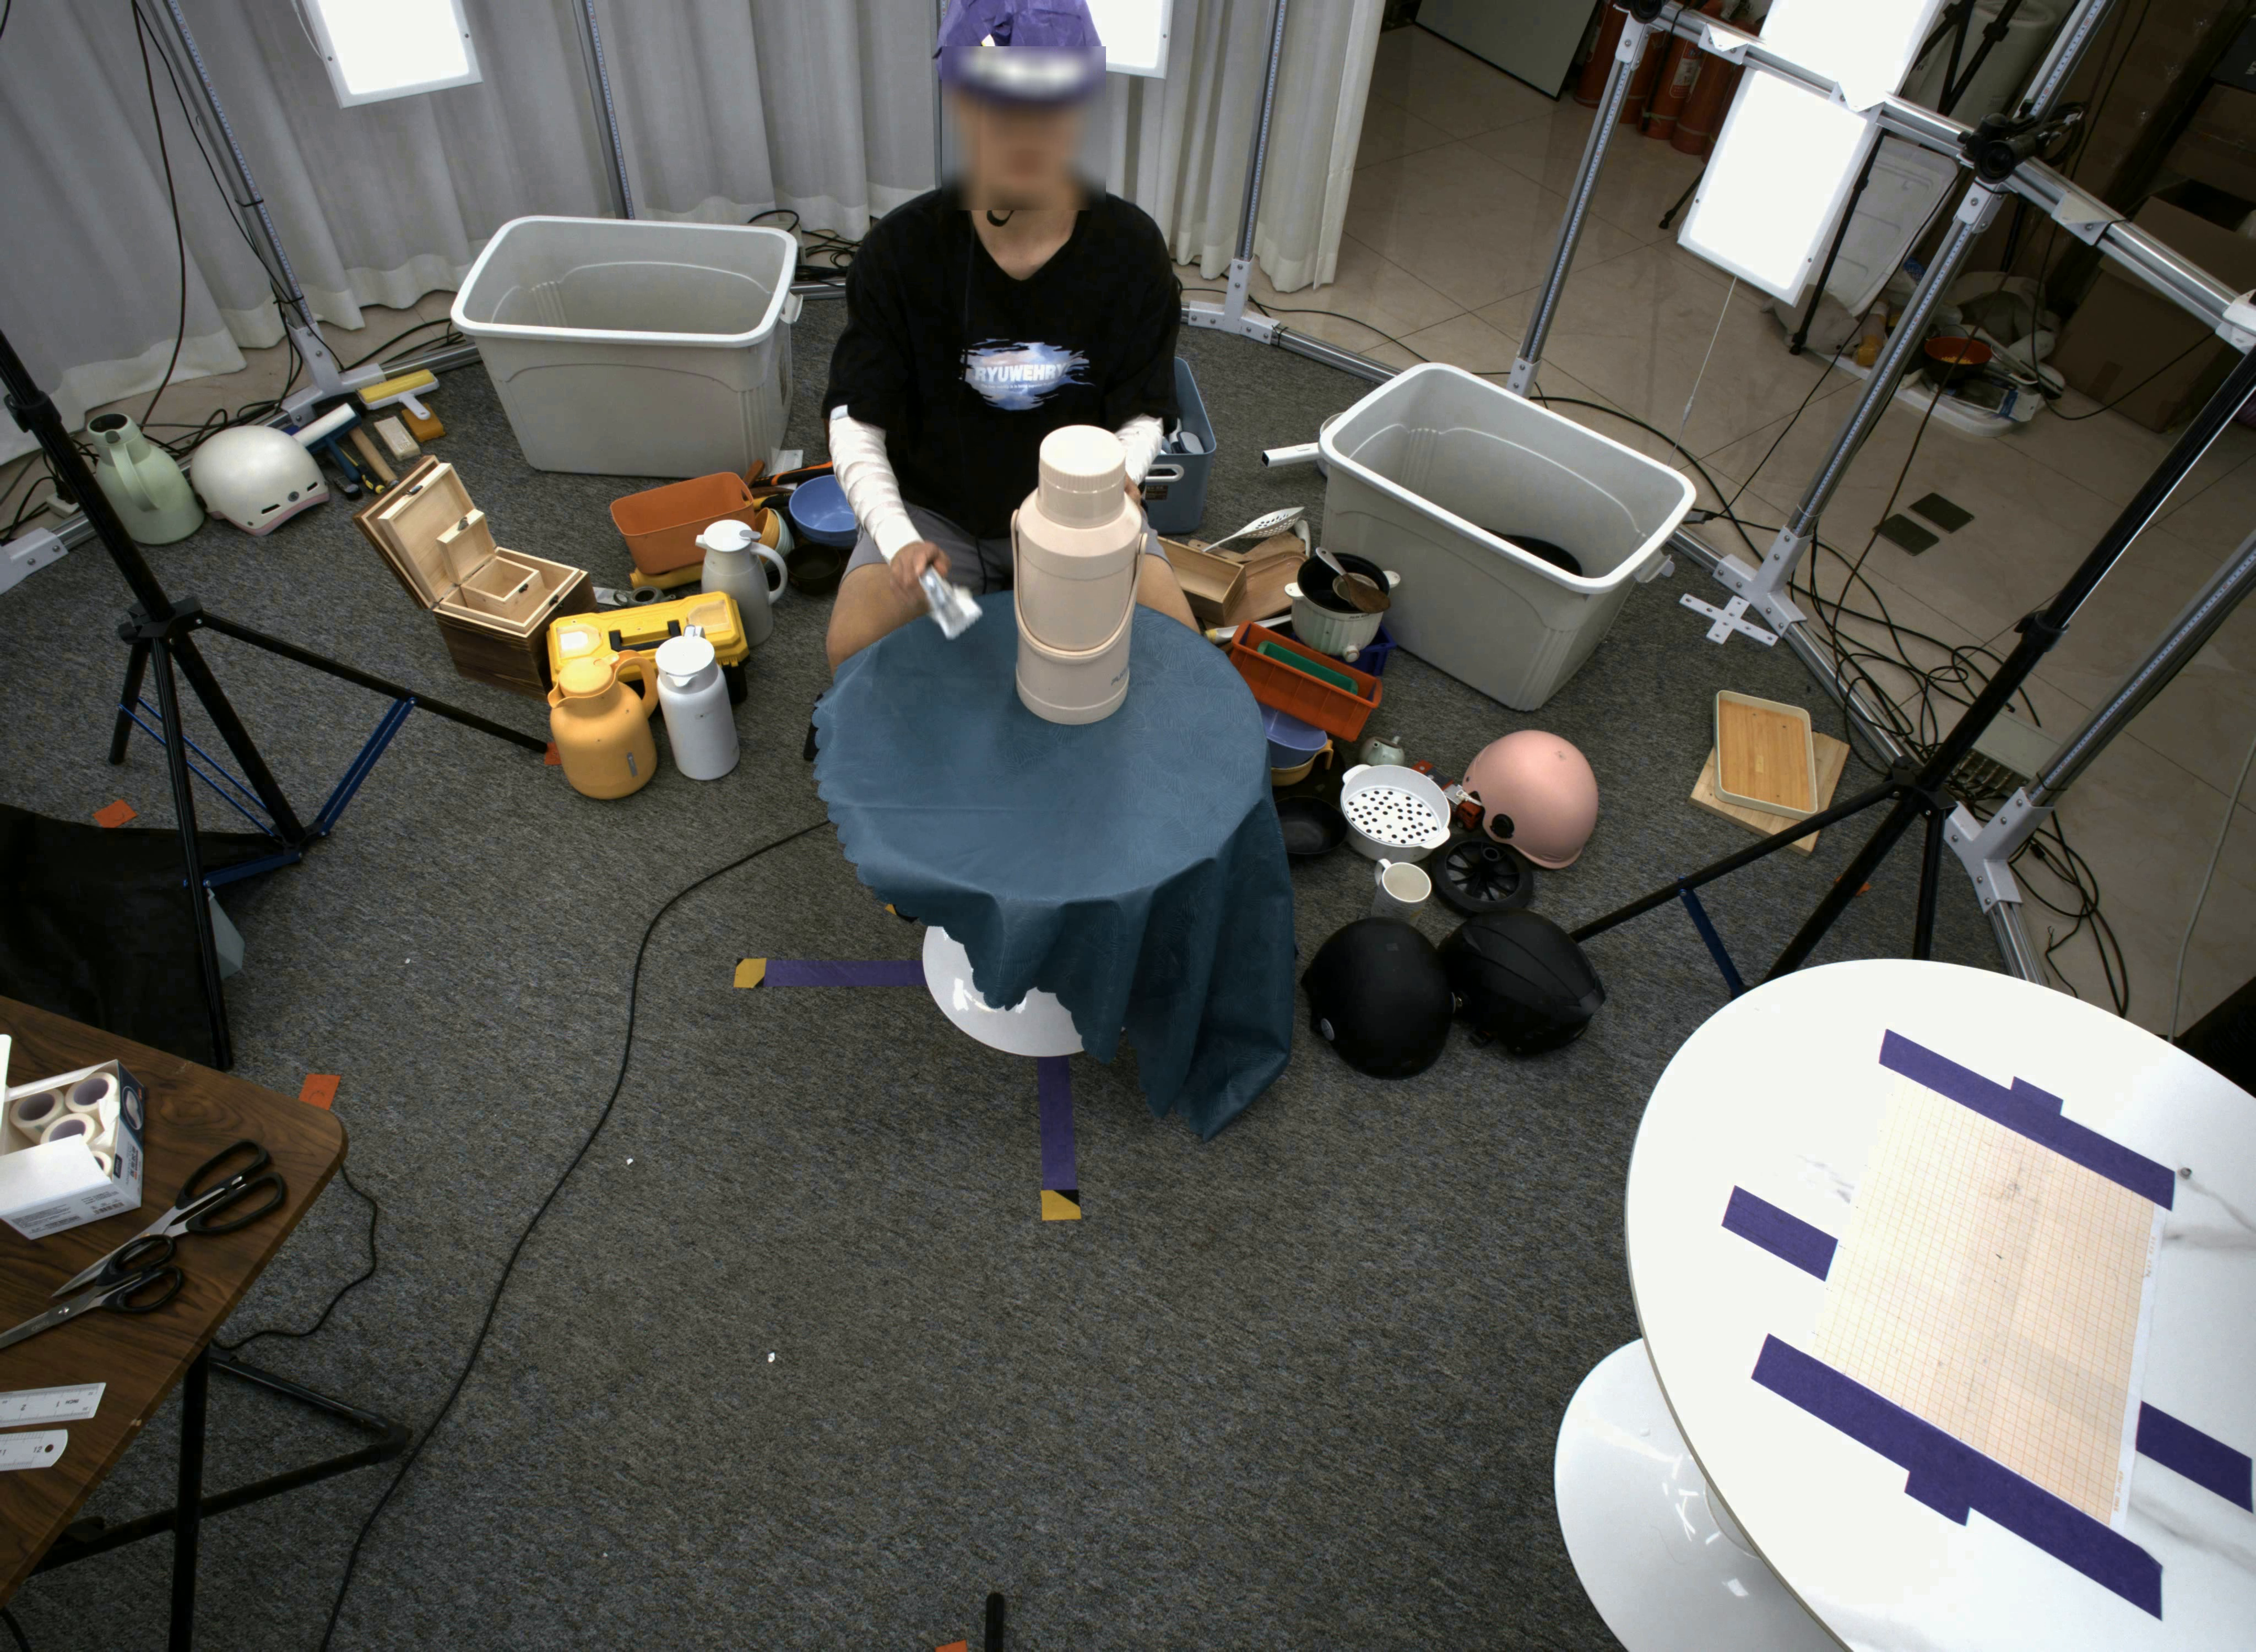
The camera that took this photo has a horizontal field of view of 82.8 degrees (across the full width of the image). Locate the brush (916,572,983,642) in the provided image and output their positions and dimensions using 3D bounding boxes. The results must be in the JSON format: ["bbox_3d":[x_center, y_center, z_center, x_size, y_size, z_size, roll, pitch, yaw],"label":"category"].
[{"bbox_3d":[-0.238,-0.292,1.684,0.061,0.177,0.093,-39,100,5],"label":"brush"}]

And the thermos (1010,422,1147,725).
[{"bbox_3d":[-0.062,-0.337,1.705,0.175,0.396,0.212,11,50,6],"label":"thermos"}]
